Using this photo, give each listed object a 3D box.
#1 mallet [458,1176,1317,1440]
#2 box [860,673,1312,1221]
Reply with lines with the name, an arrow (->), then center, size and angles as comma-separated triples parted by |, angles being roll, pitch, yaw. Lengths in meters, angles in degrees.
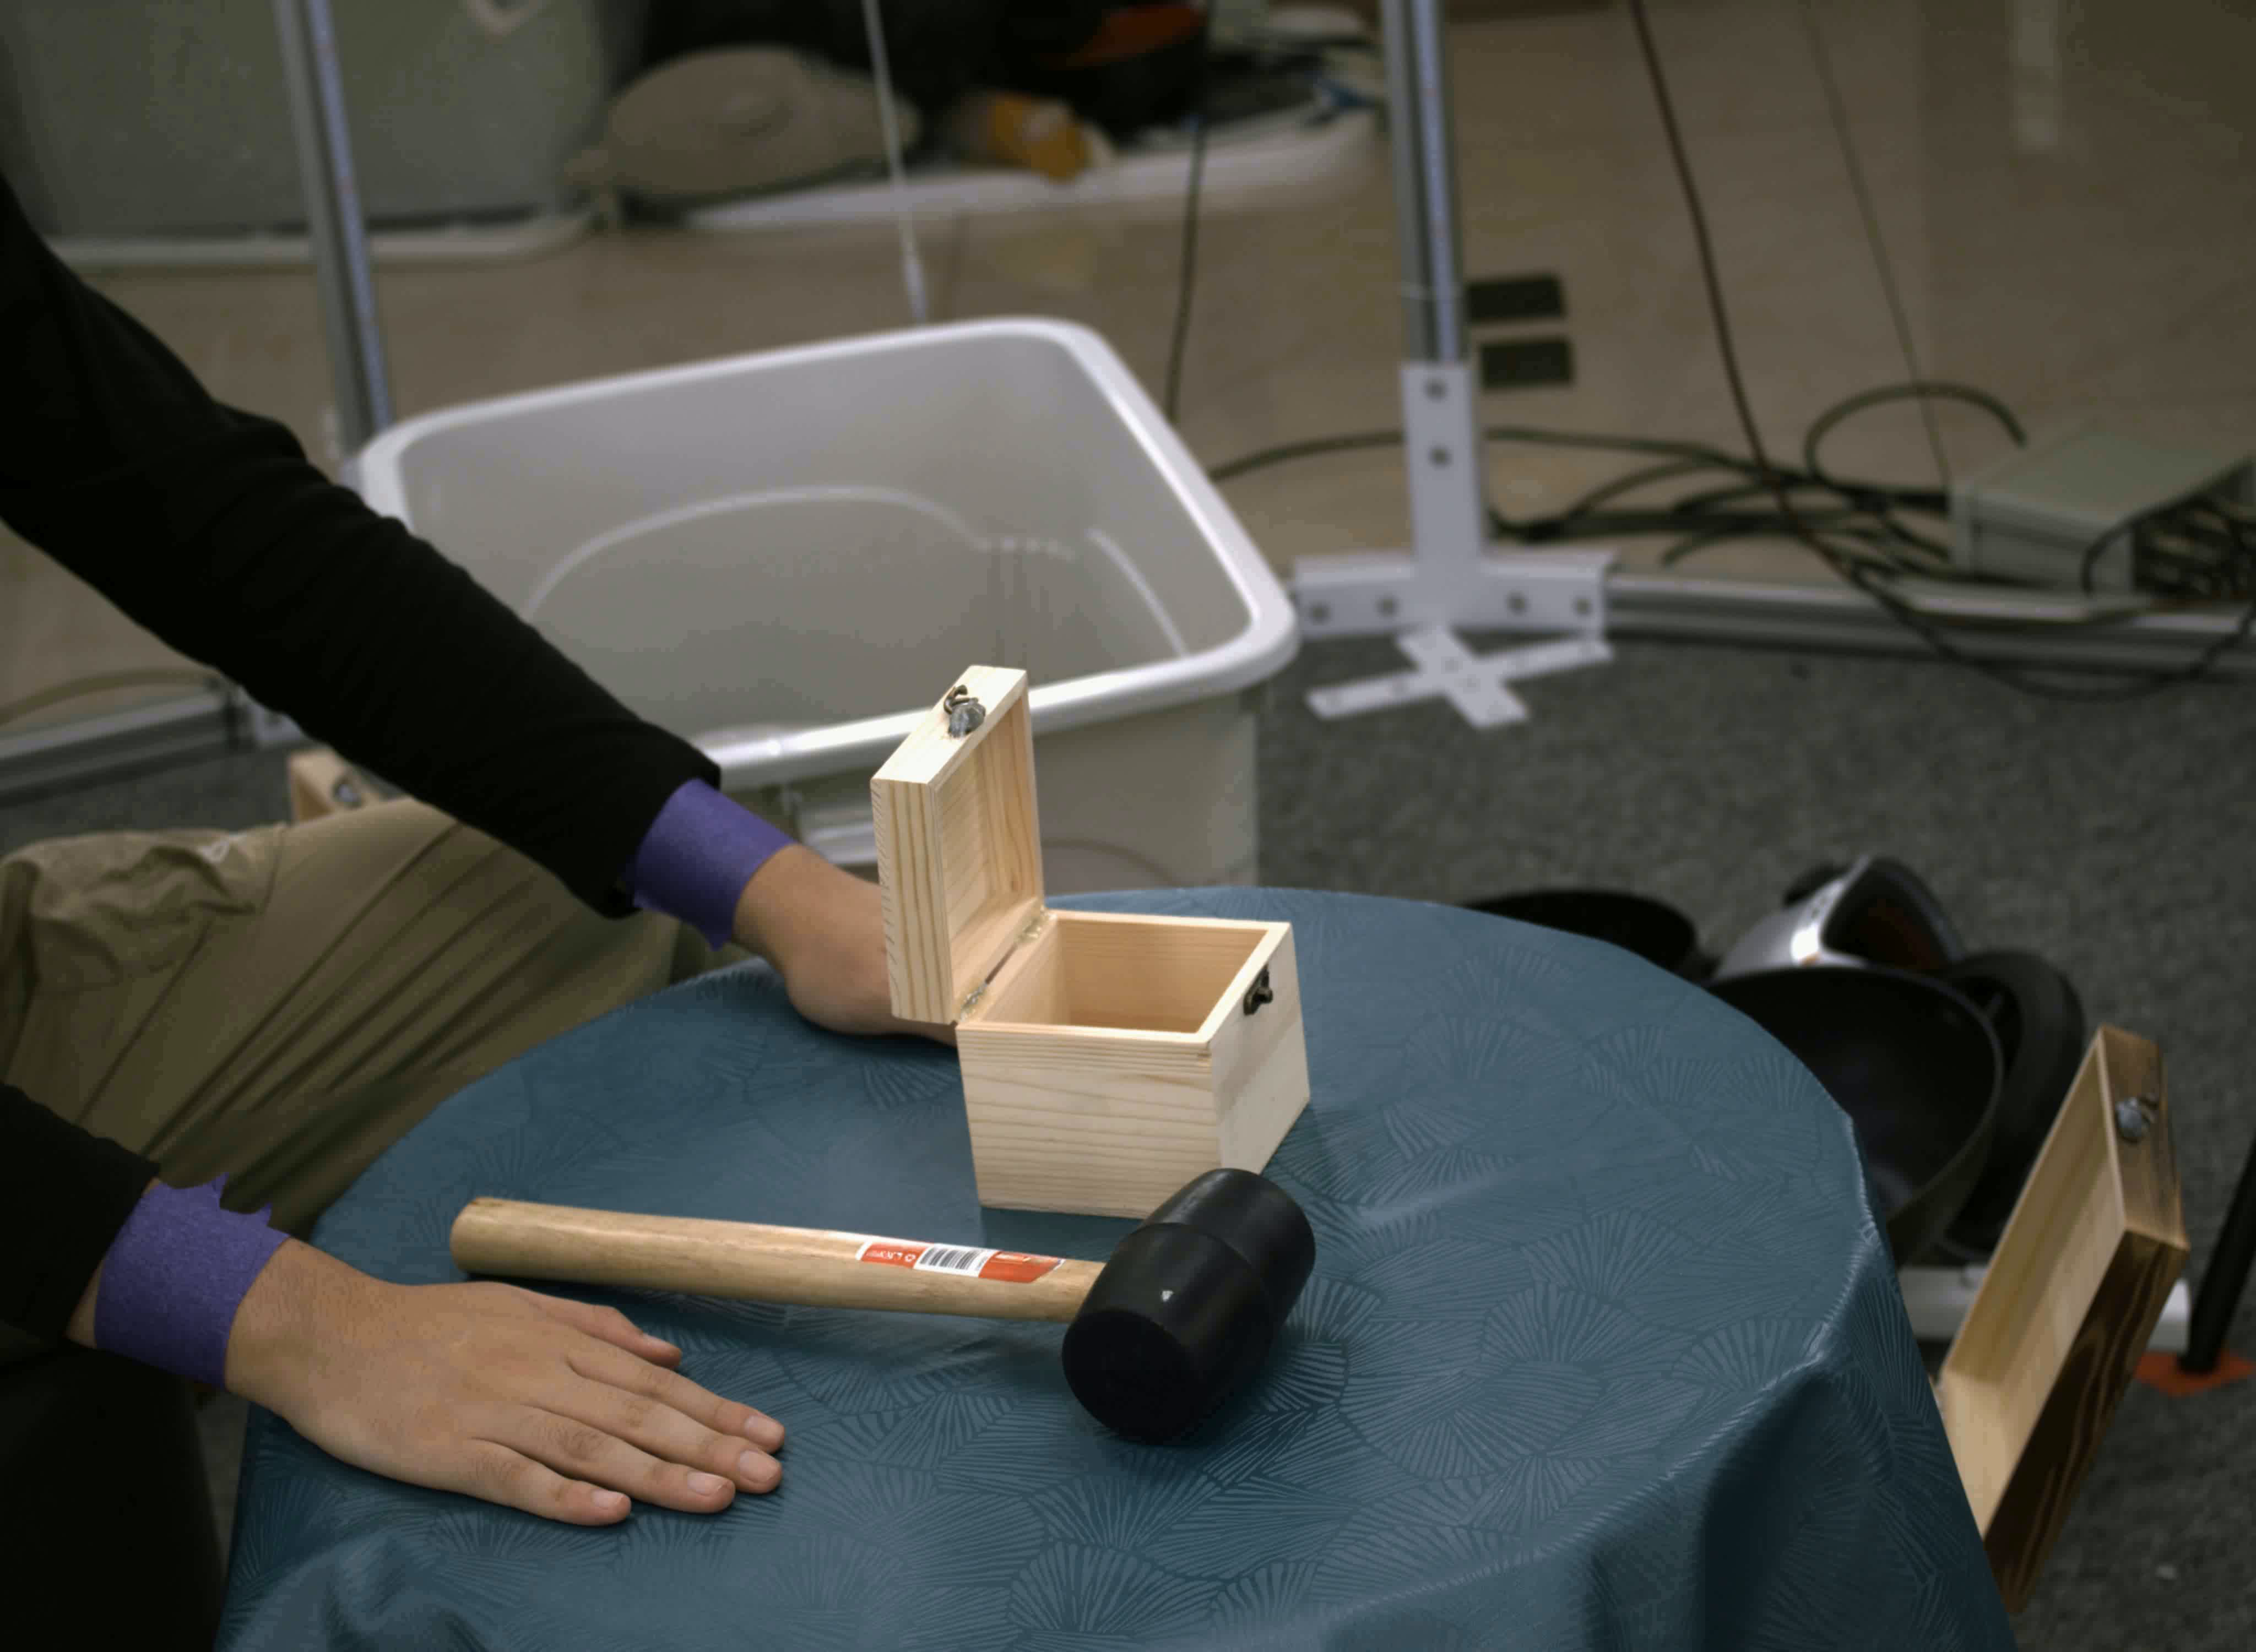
mallet -> -0.100, 0.156, 2.066 | 0.337, 0.065, 0.100 | 7, 27, 27
box -> -0.012, 0.044, 2.140 | 0.133, 0.187, 0.101 | 1, 26, 21
